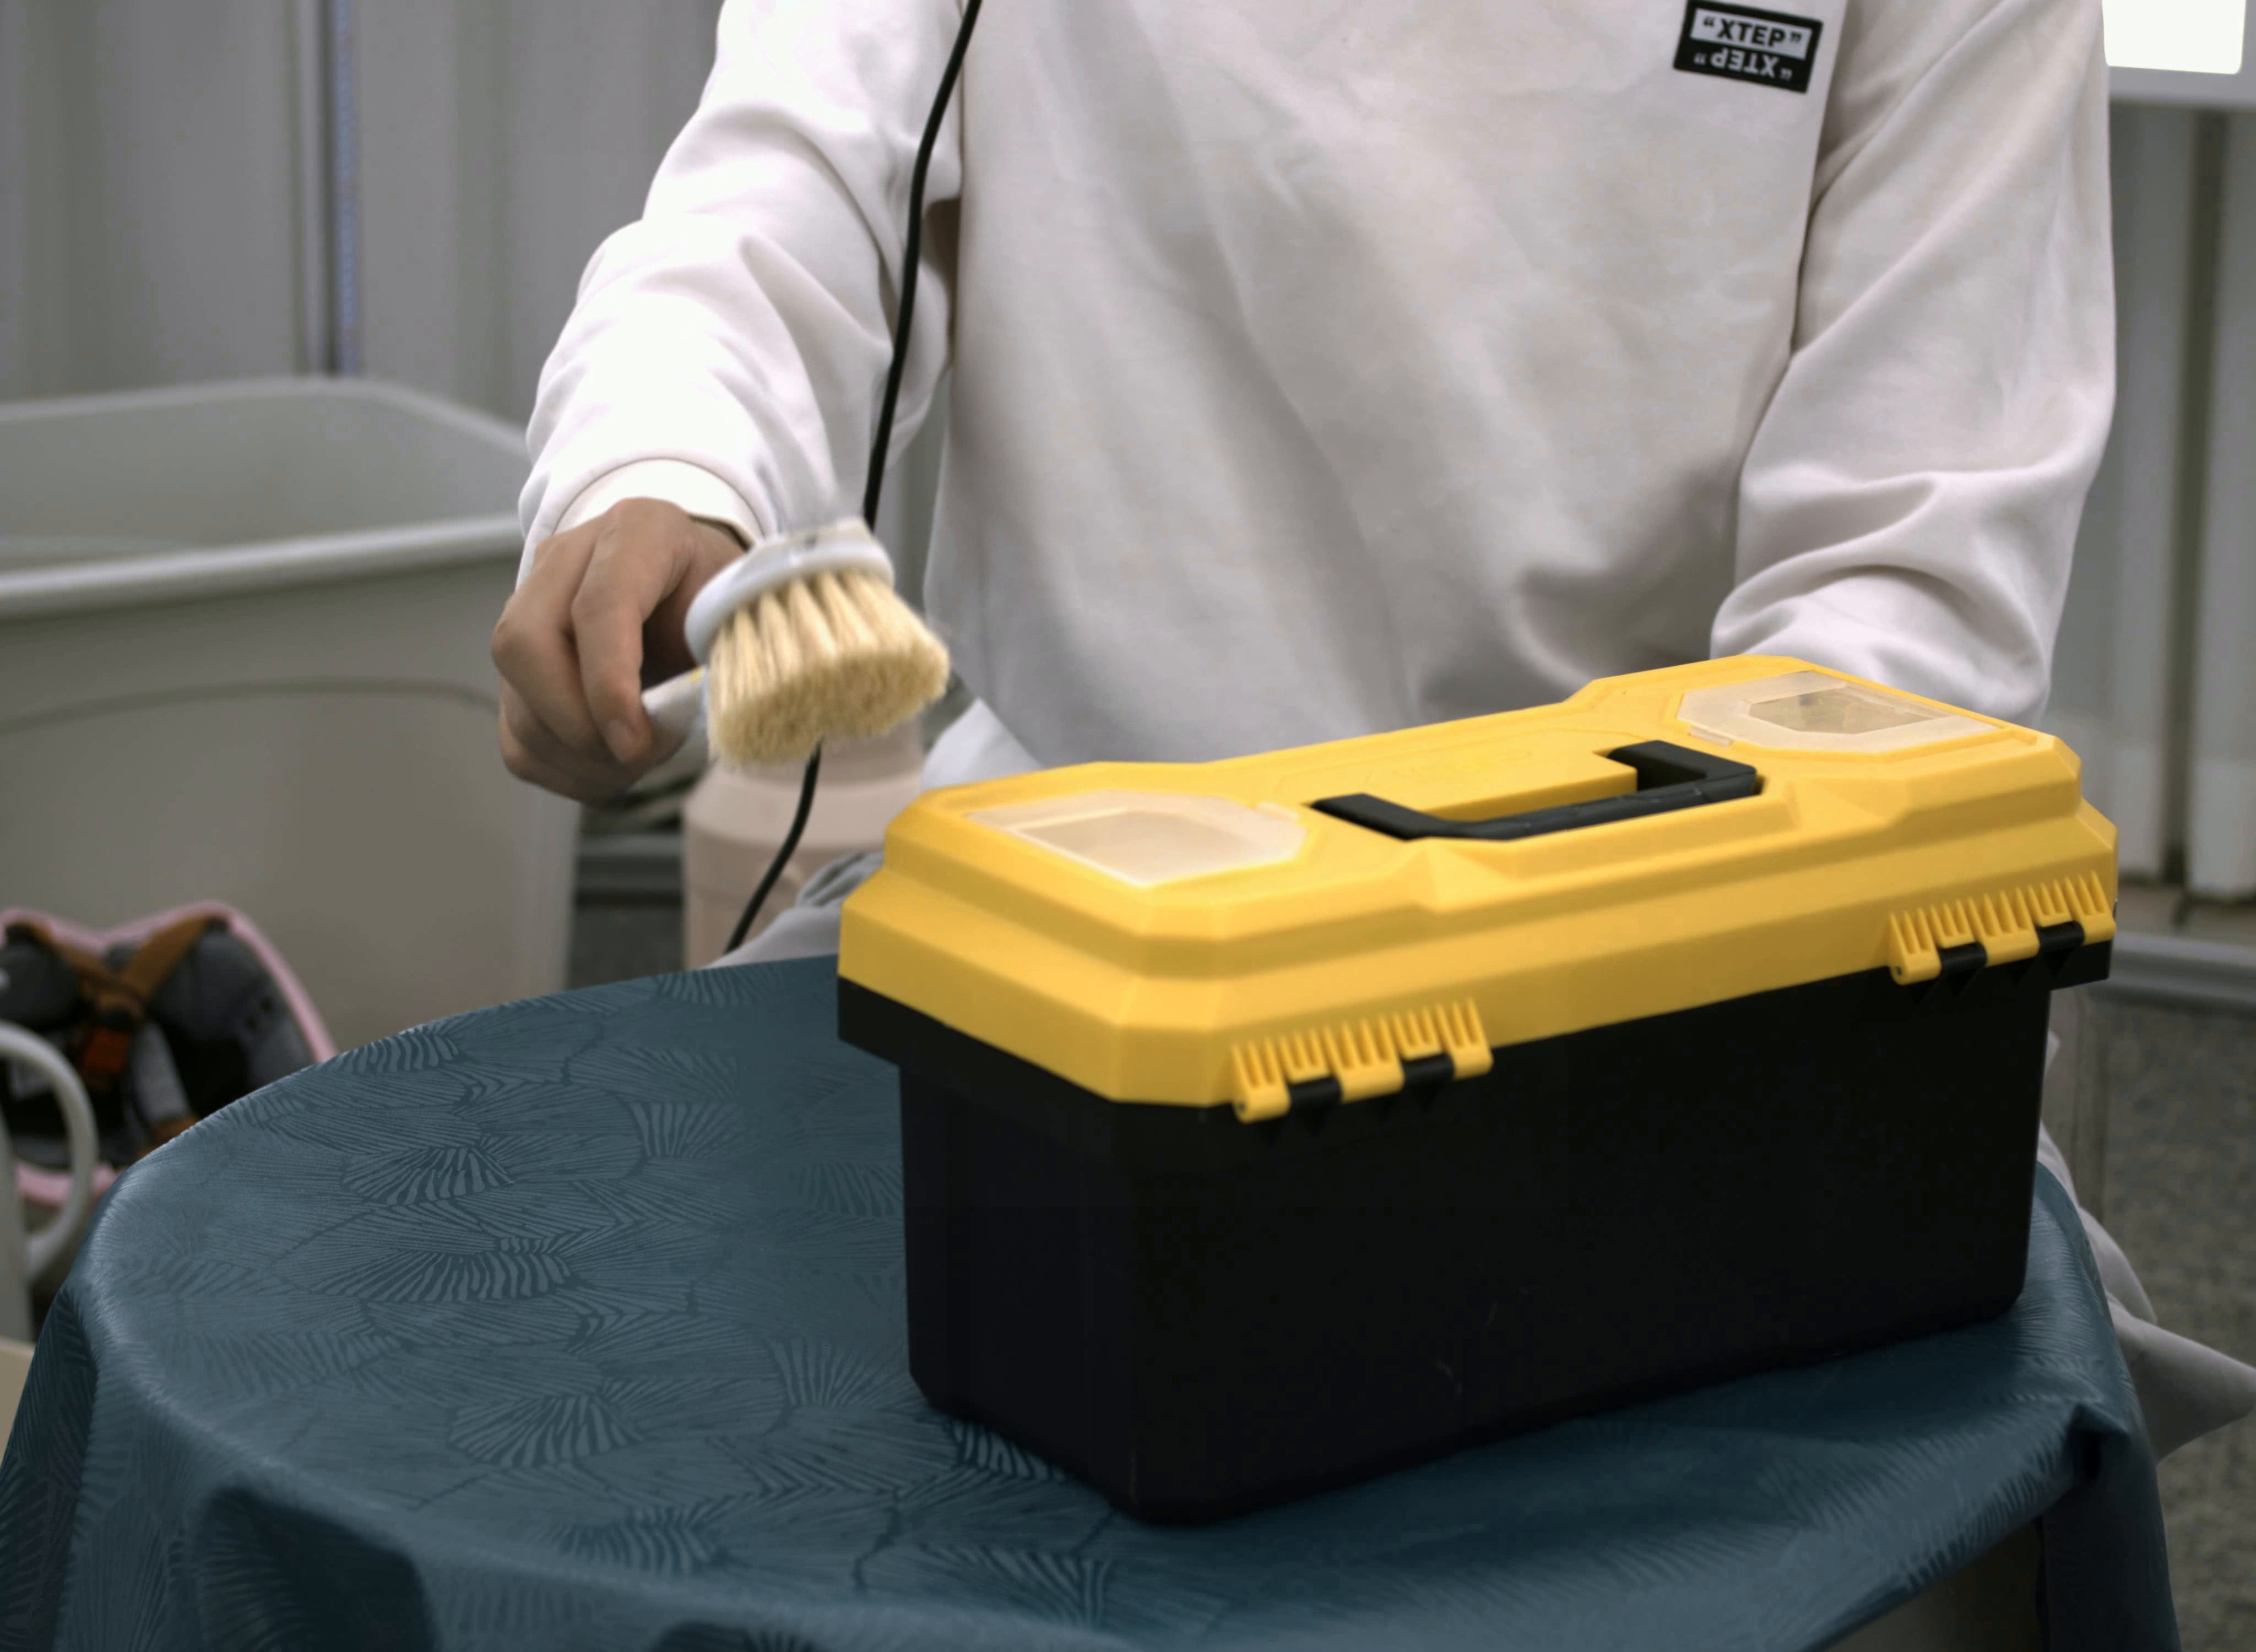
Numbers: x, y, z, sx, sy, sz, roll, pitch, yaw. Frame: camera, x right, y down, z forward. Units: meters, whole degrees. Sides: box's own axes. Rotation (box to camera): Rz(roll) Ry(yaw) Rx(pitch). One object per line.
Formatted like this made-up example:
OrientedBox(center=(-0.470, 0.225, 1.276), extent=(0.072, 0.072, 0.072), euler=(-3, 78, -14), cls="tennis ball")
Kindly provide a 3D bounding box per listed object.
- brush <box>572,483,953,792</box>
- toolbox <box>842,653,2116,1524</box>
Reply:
OrientedBox(center=(-0.114, -0.029, 1.506), extent=(0.069, 0.056, 0.266), euler=(0, -17, -20), cls="brush")
OrientedBox(center=(0.101, 0.066, 1.478), extent=(0.353, 0.174, 0.179), euler=(-9, 20, -34), cls="toolbox")
